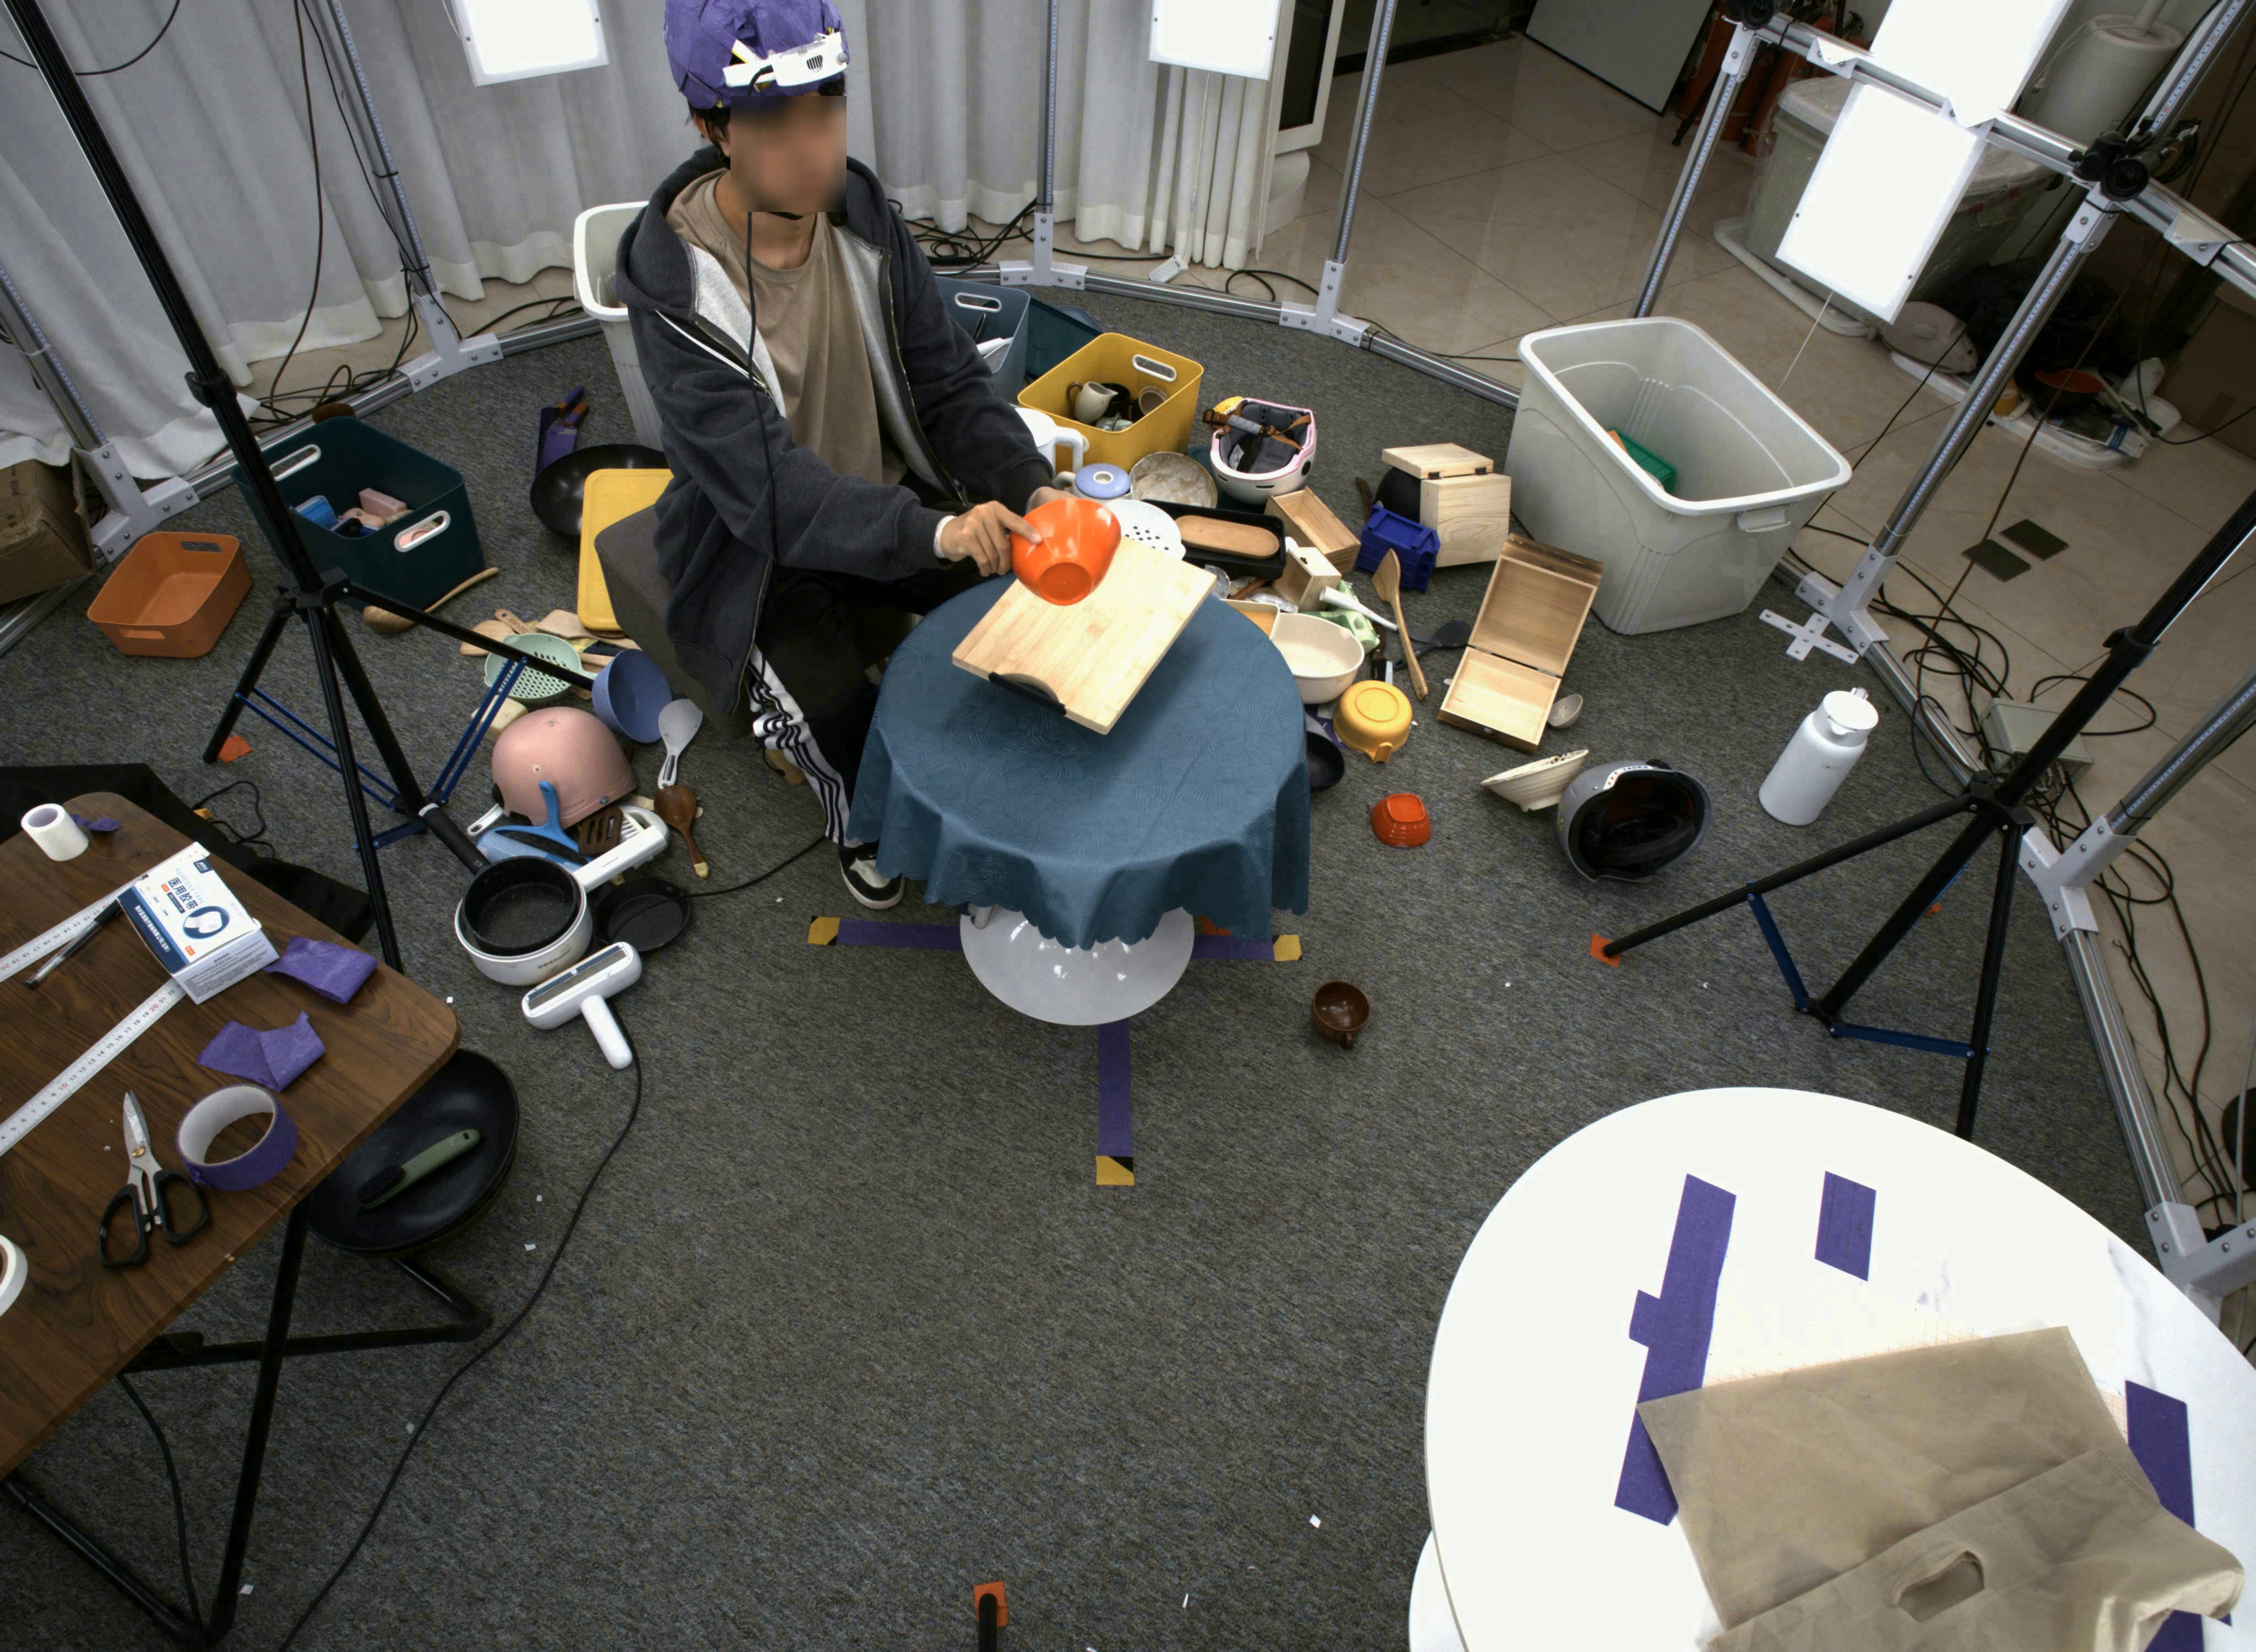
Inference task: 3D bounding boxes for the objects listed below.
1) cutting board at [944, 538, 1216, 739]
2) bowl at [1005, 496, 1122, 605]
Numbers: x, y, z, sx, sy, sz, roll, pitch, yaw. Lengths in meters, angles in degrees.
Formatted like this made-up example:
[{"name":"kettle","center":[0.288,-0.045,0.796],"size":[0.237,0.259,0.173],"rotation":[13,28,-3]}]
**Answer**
[{"name":"cutting board","center":[-0.059,-0.287,1.800],"size":[0.252,0.023,0.354],"rotation":[24,54,13]},{"name":"bowl","center":[-0.076,-0.325,1.589],"size":[0.148,0.144,0.107],"rotation":[-2,47,-6]}]
